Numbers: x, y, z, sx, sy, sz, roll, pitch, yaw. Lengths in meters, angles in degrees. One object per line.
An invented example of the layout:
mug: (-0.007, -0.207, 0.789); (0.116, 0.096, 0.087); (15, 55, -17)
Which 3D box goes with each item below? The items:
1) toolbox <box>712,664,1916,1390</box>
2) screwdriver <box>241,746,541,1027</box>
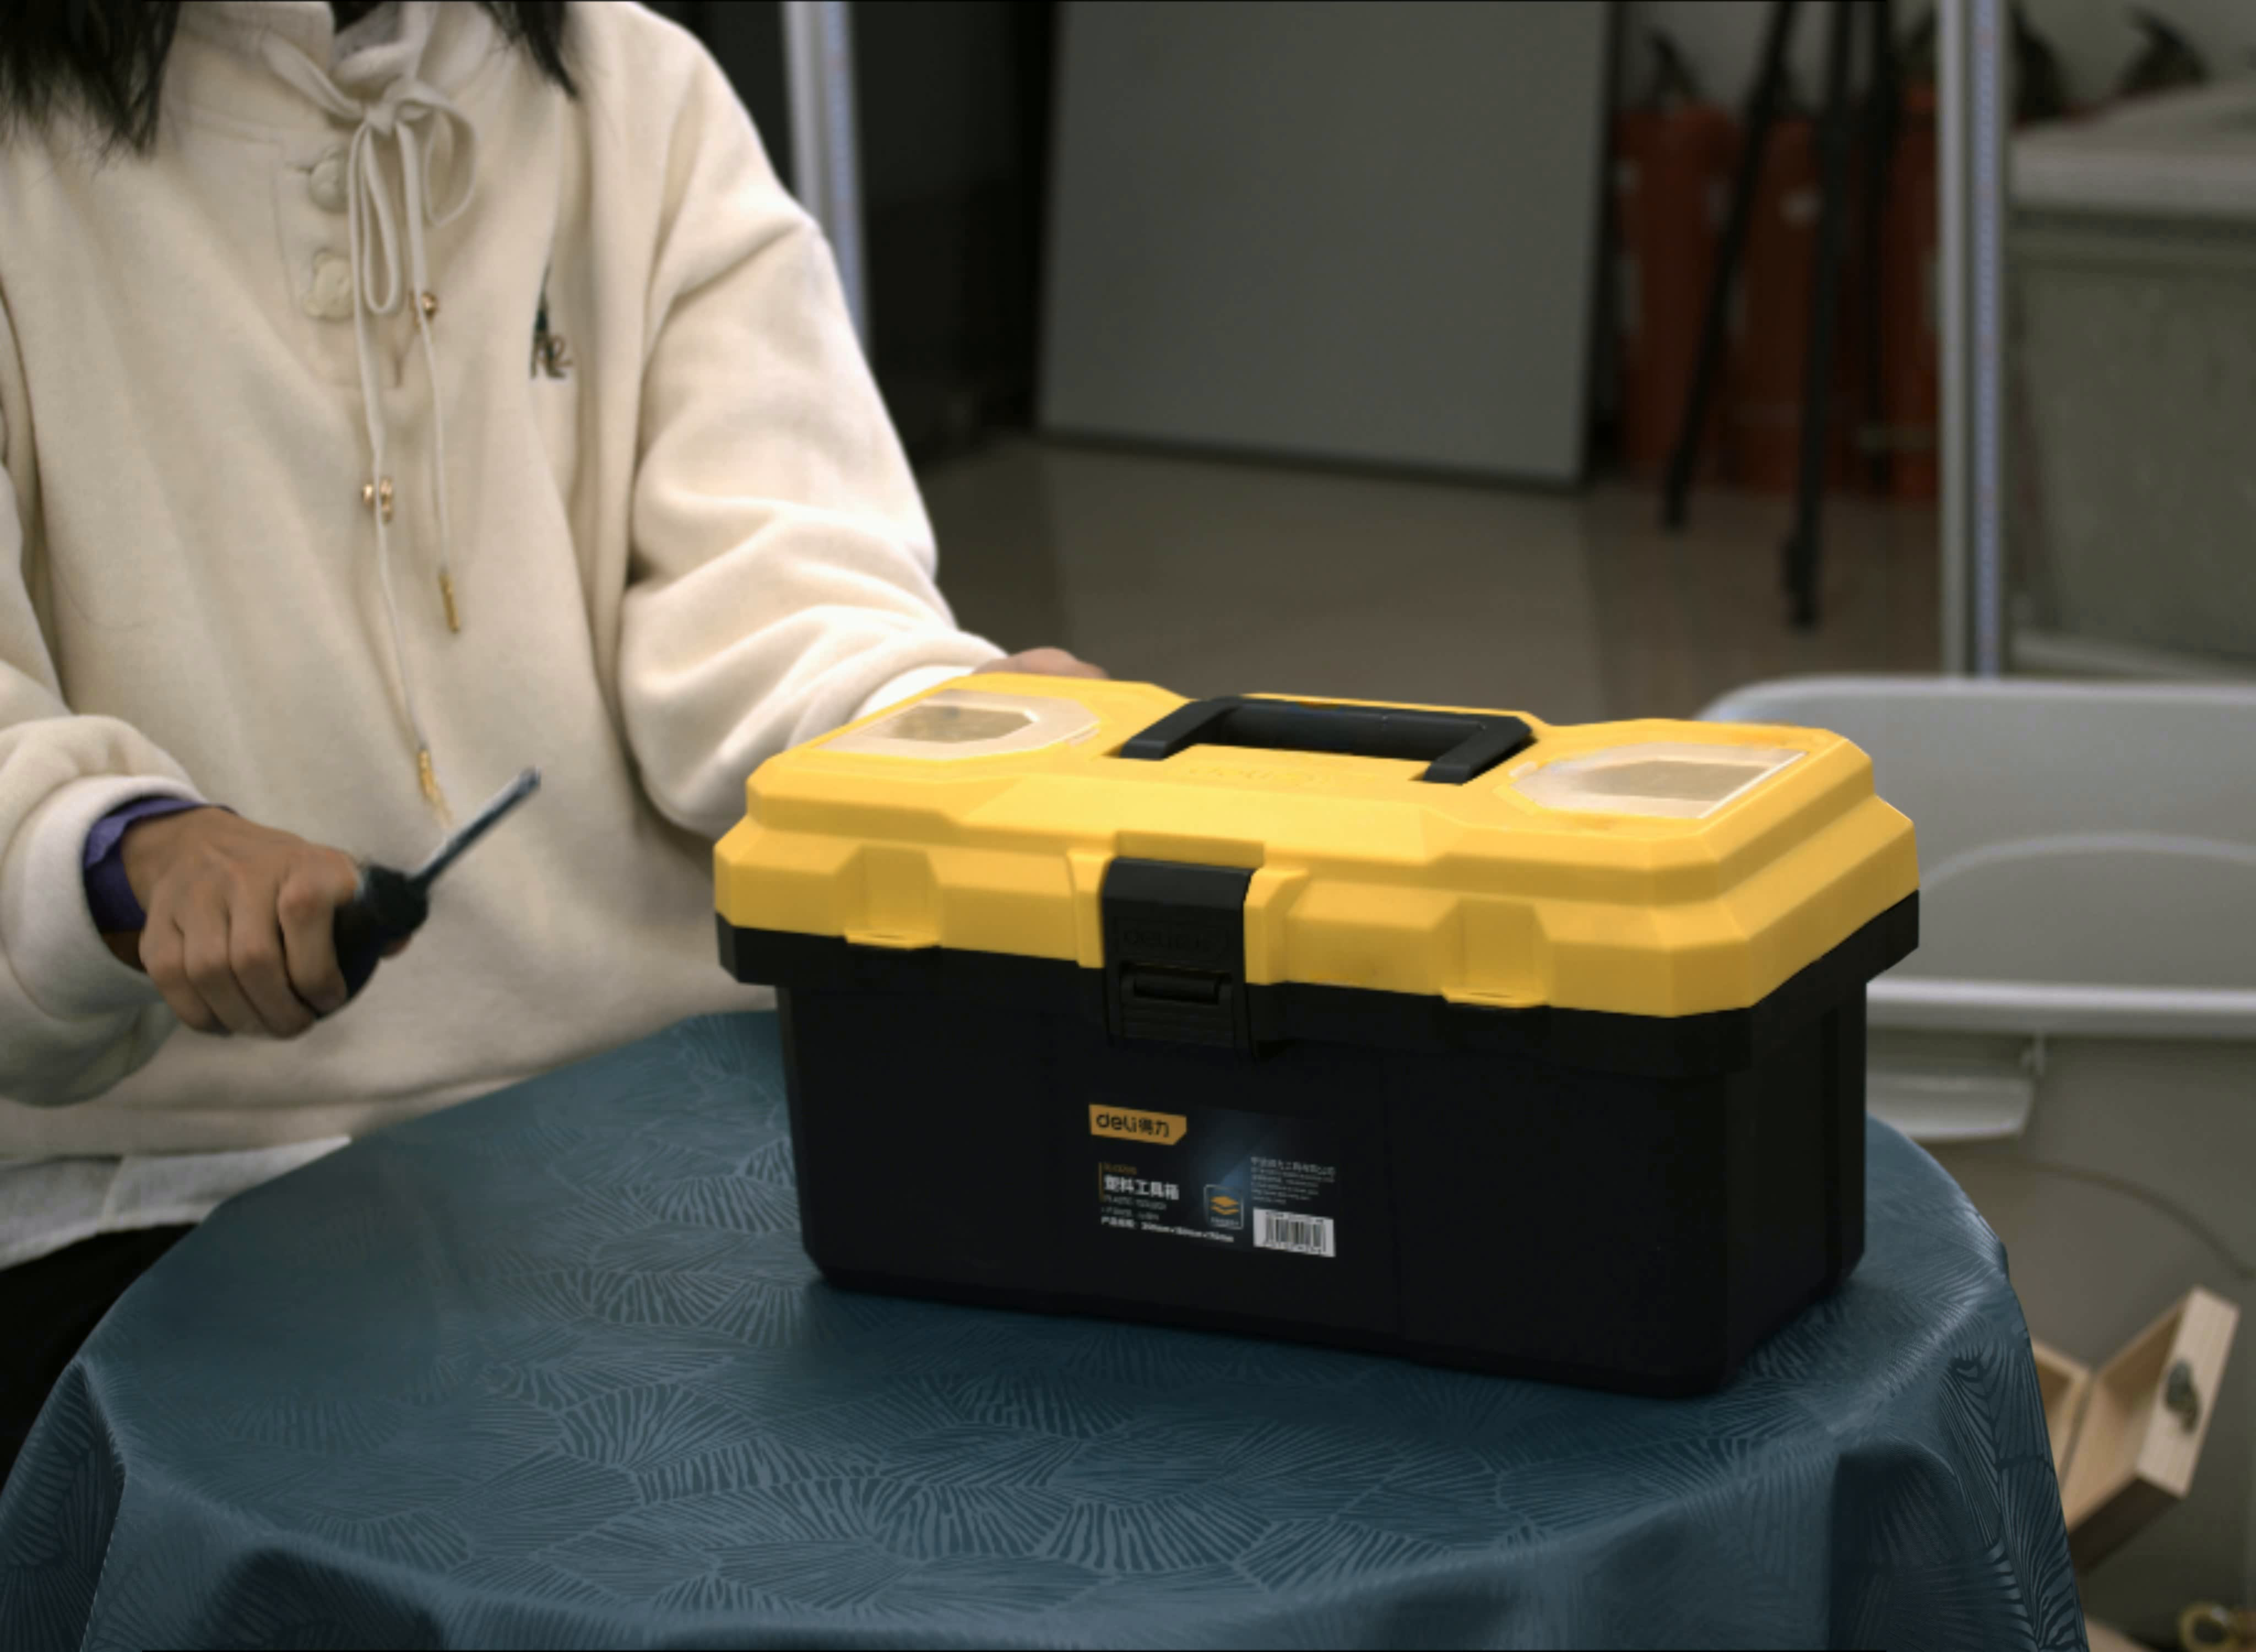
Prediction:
toolbox: (0.055, 0.056, 1.649); (0.353, 0.175, 0.178); (4, 15, 30)
screwdriver: (-0.227, 0.015, 1.663); (0.031, 0.032, 0.198); (-13, -18, -36)
